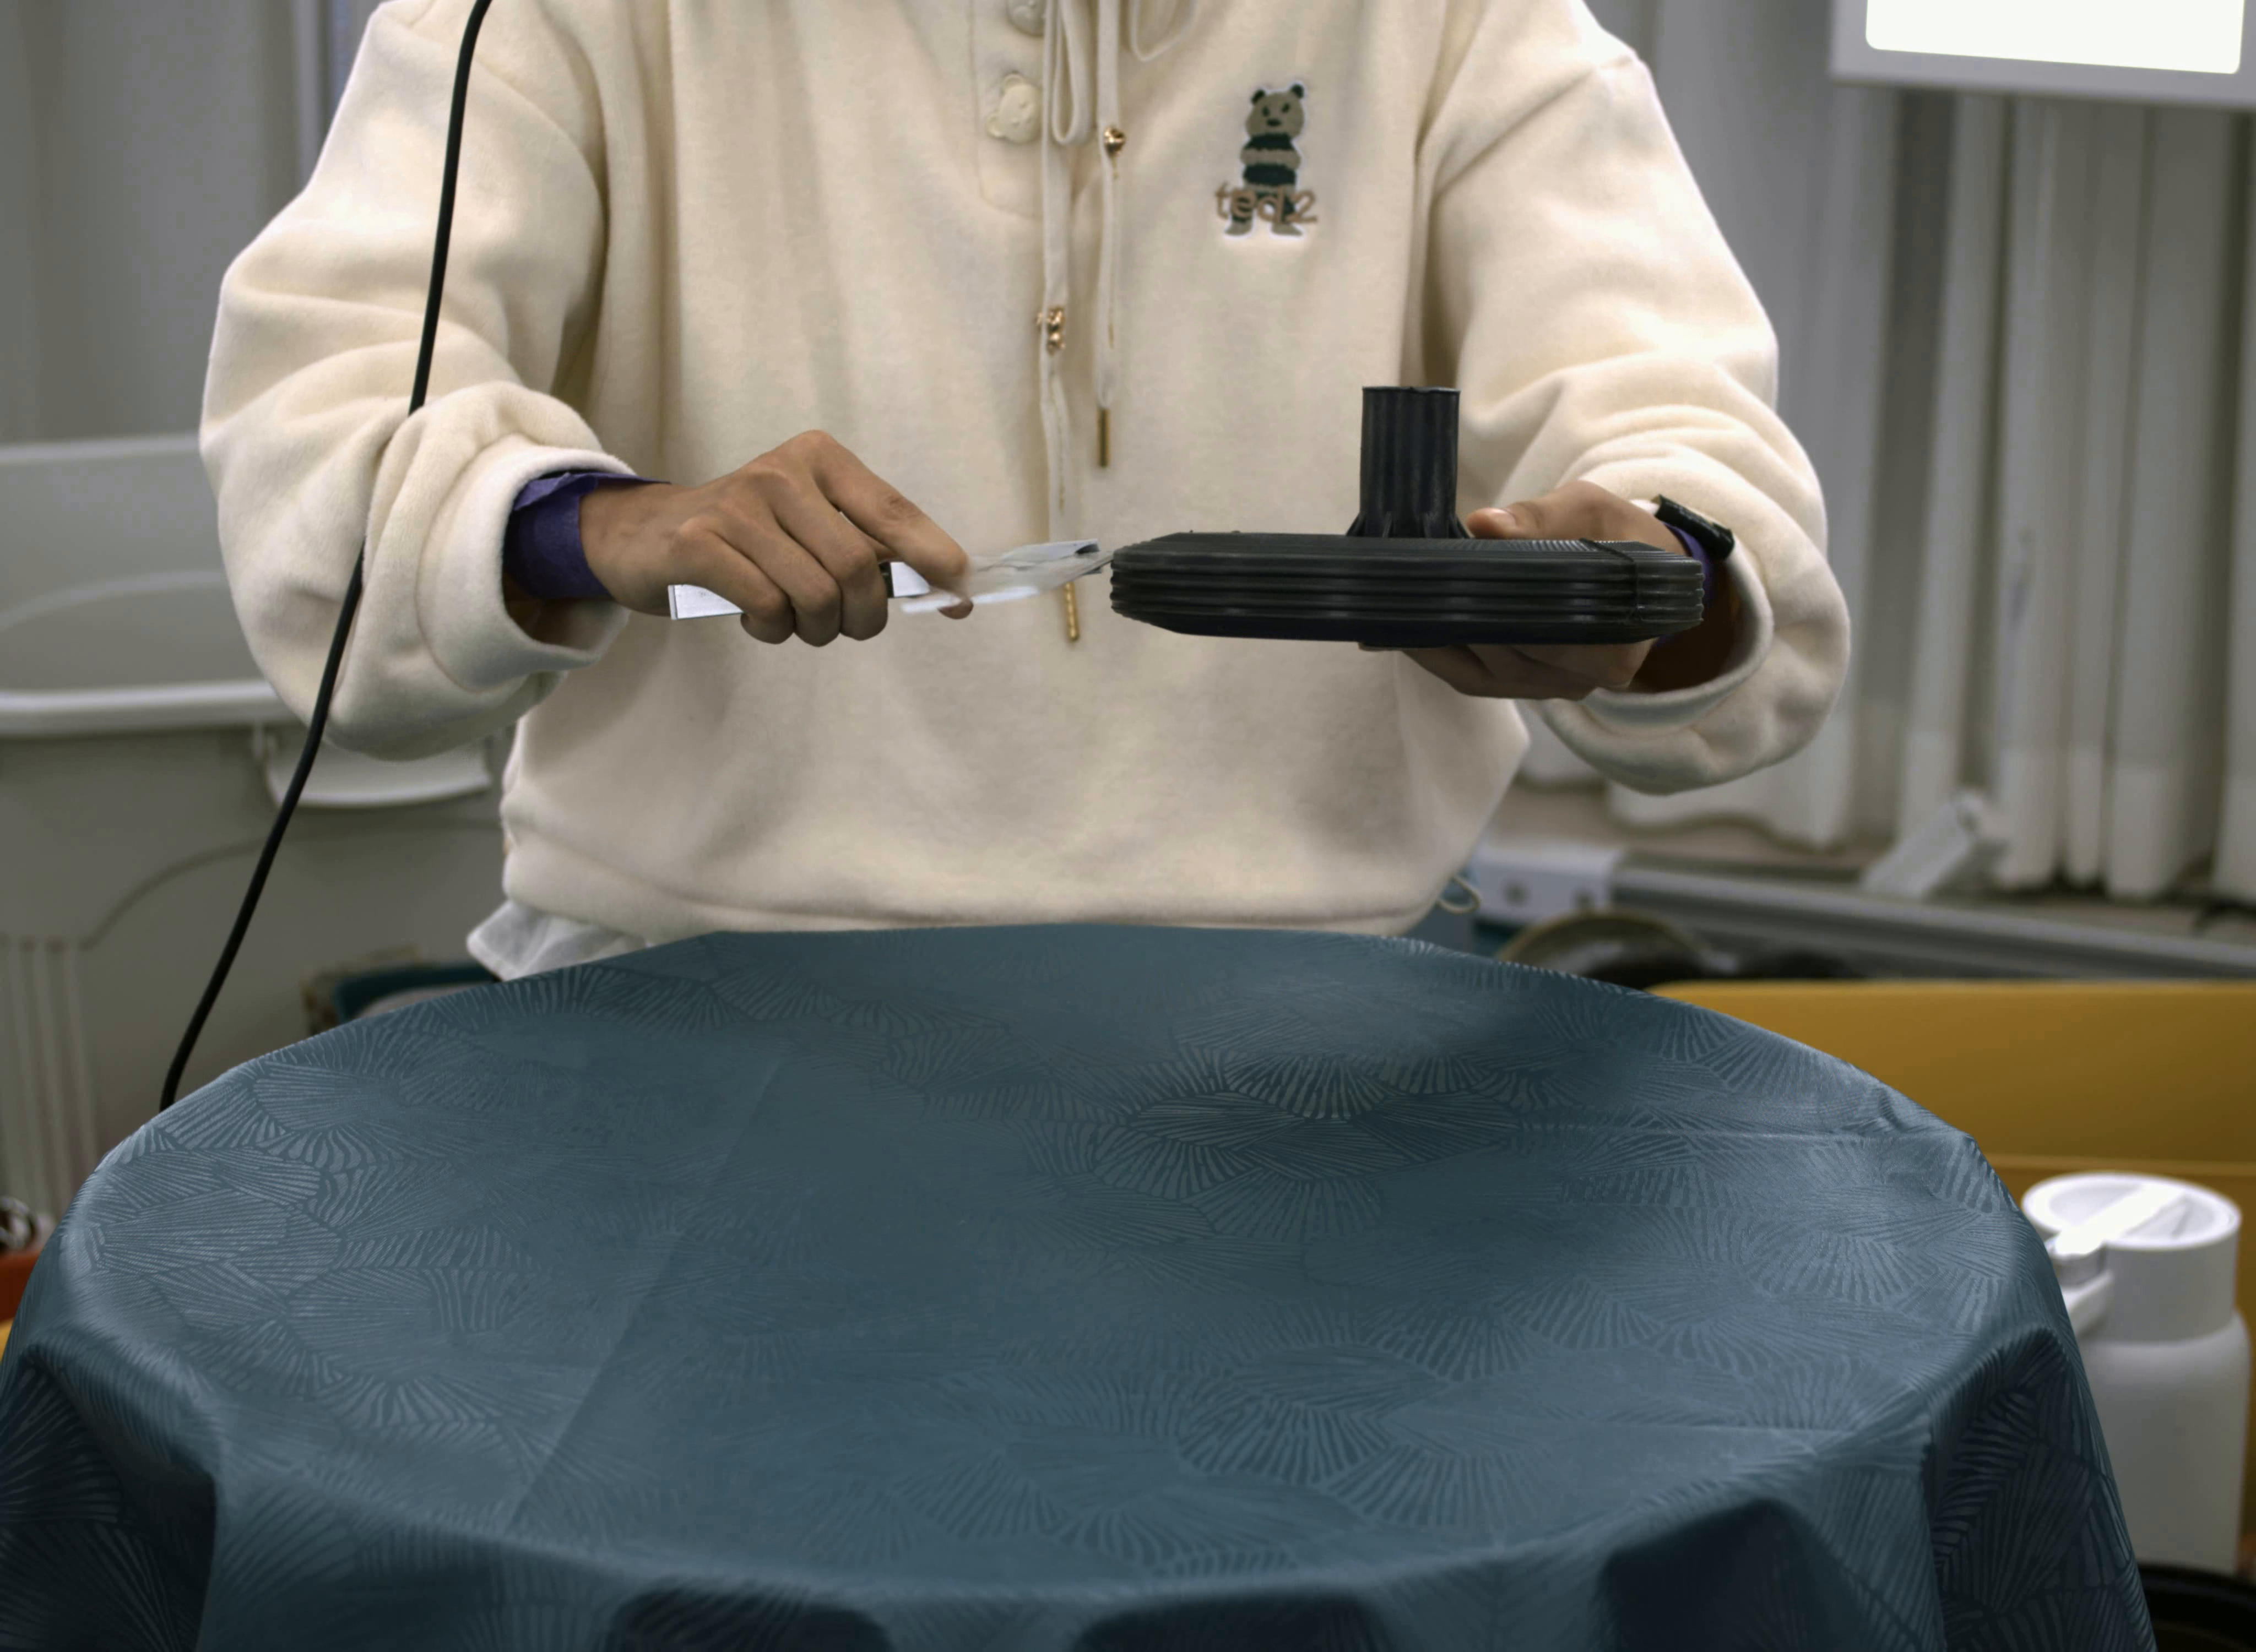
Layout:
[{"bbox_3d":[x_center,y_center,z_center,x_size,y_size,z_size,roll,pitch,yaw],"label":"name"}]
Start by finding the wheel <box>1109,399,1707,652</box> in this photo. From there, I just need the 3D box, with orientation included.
[{"bbox_3d":[0.089,-0.095,1.662,0.190,0.079,0.186,1,3,-10],"label":"wheel"}]

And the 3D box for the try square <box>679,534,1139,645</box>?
[{"bbox_3d":[-0.083,-0.068,1.598,0.151,0.016,0.313,-10,4,6],"label":"try square"}]
